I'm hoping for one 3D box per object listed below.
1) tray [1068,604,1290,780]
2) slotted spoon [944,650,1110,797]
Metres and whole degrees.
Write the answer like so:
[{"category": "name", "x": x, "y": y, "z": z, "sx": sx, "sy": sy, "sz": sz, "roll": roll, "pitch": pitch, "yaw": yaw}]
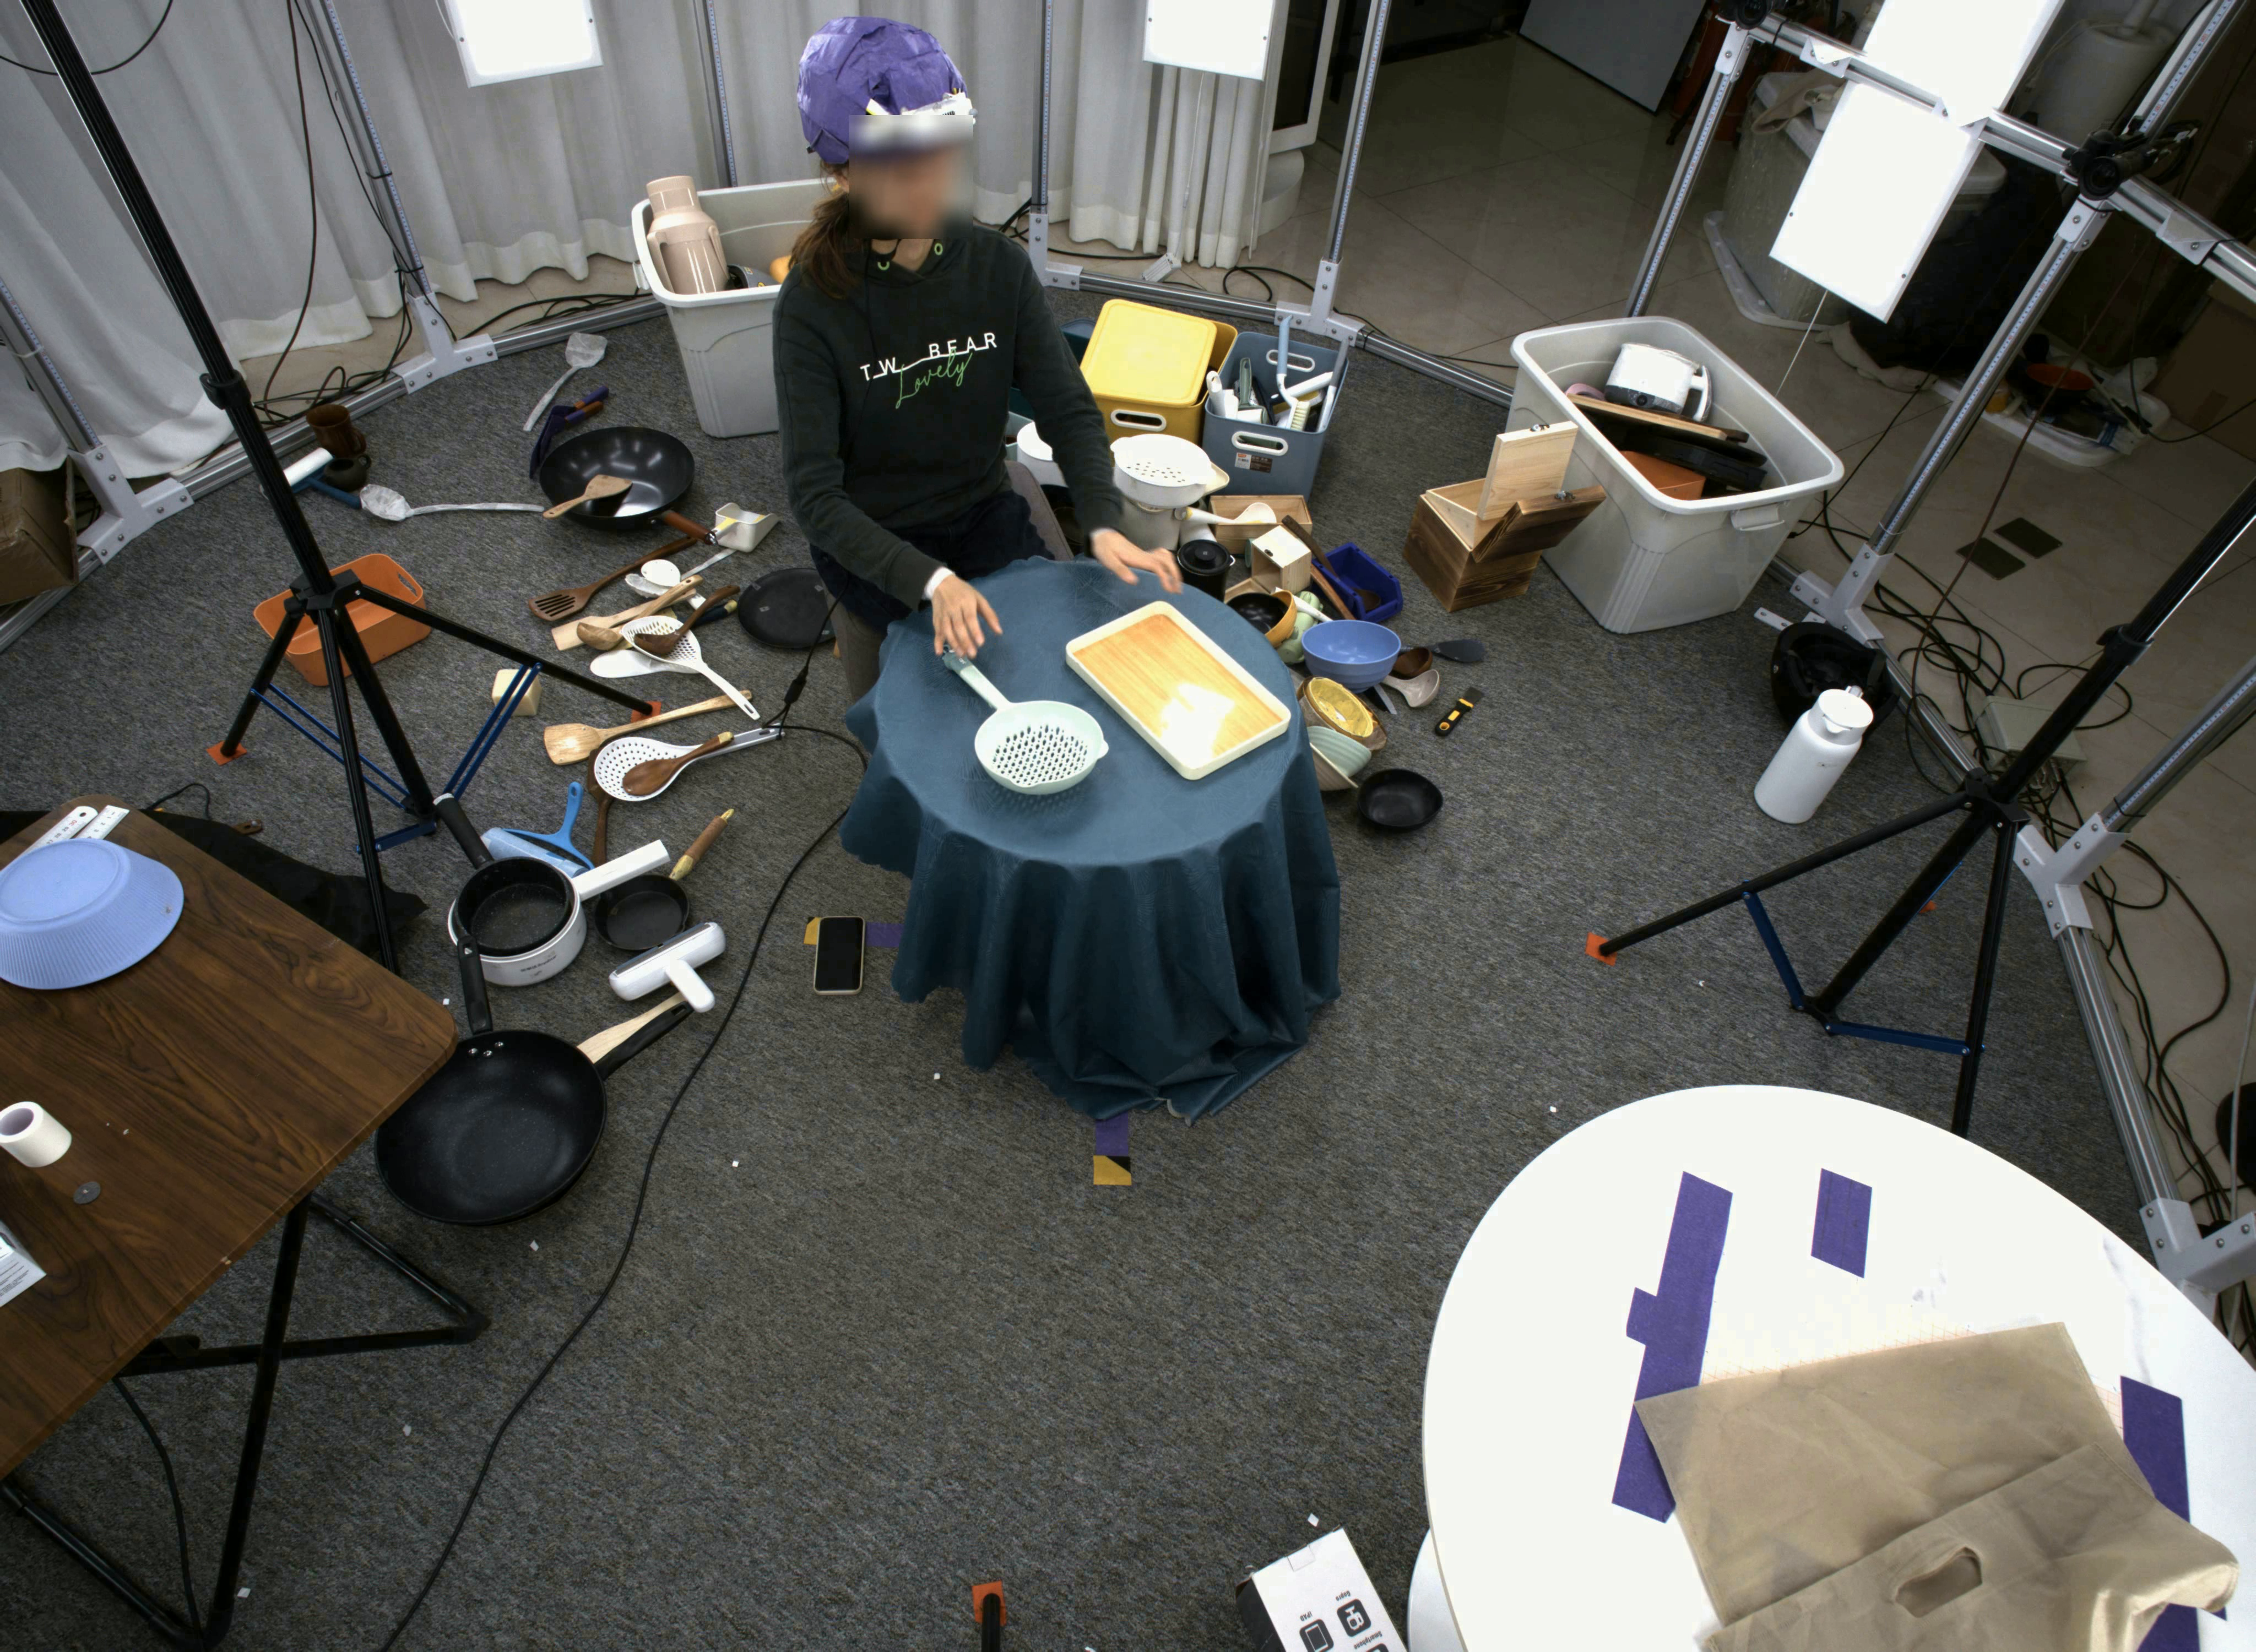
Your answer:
[{"category": "tray", "x": 0.070, "y": -0.198, "z": 1.845, "sx": 0.192, "sy": 0.027, "sz": 0.306, "roll": -28, "pitch": 56, "yaw": -25}, {"category": "slotted spoon", "x": -0.168, "y": -0.158, "z": 1.769, "sx": 0.170, "sy": 0.073, "sz": 0.366, "roll": -23, "pitch": 54, "yaw": -23}]
